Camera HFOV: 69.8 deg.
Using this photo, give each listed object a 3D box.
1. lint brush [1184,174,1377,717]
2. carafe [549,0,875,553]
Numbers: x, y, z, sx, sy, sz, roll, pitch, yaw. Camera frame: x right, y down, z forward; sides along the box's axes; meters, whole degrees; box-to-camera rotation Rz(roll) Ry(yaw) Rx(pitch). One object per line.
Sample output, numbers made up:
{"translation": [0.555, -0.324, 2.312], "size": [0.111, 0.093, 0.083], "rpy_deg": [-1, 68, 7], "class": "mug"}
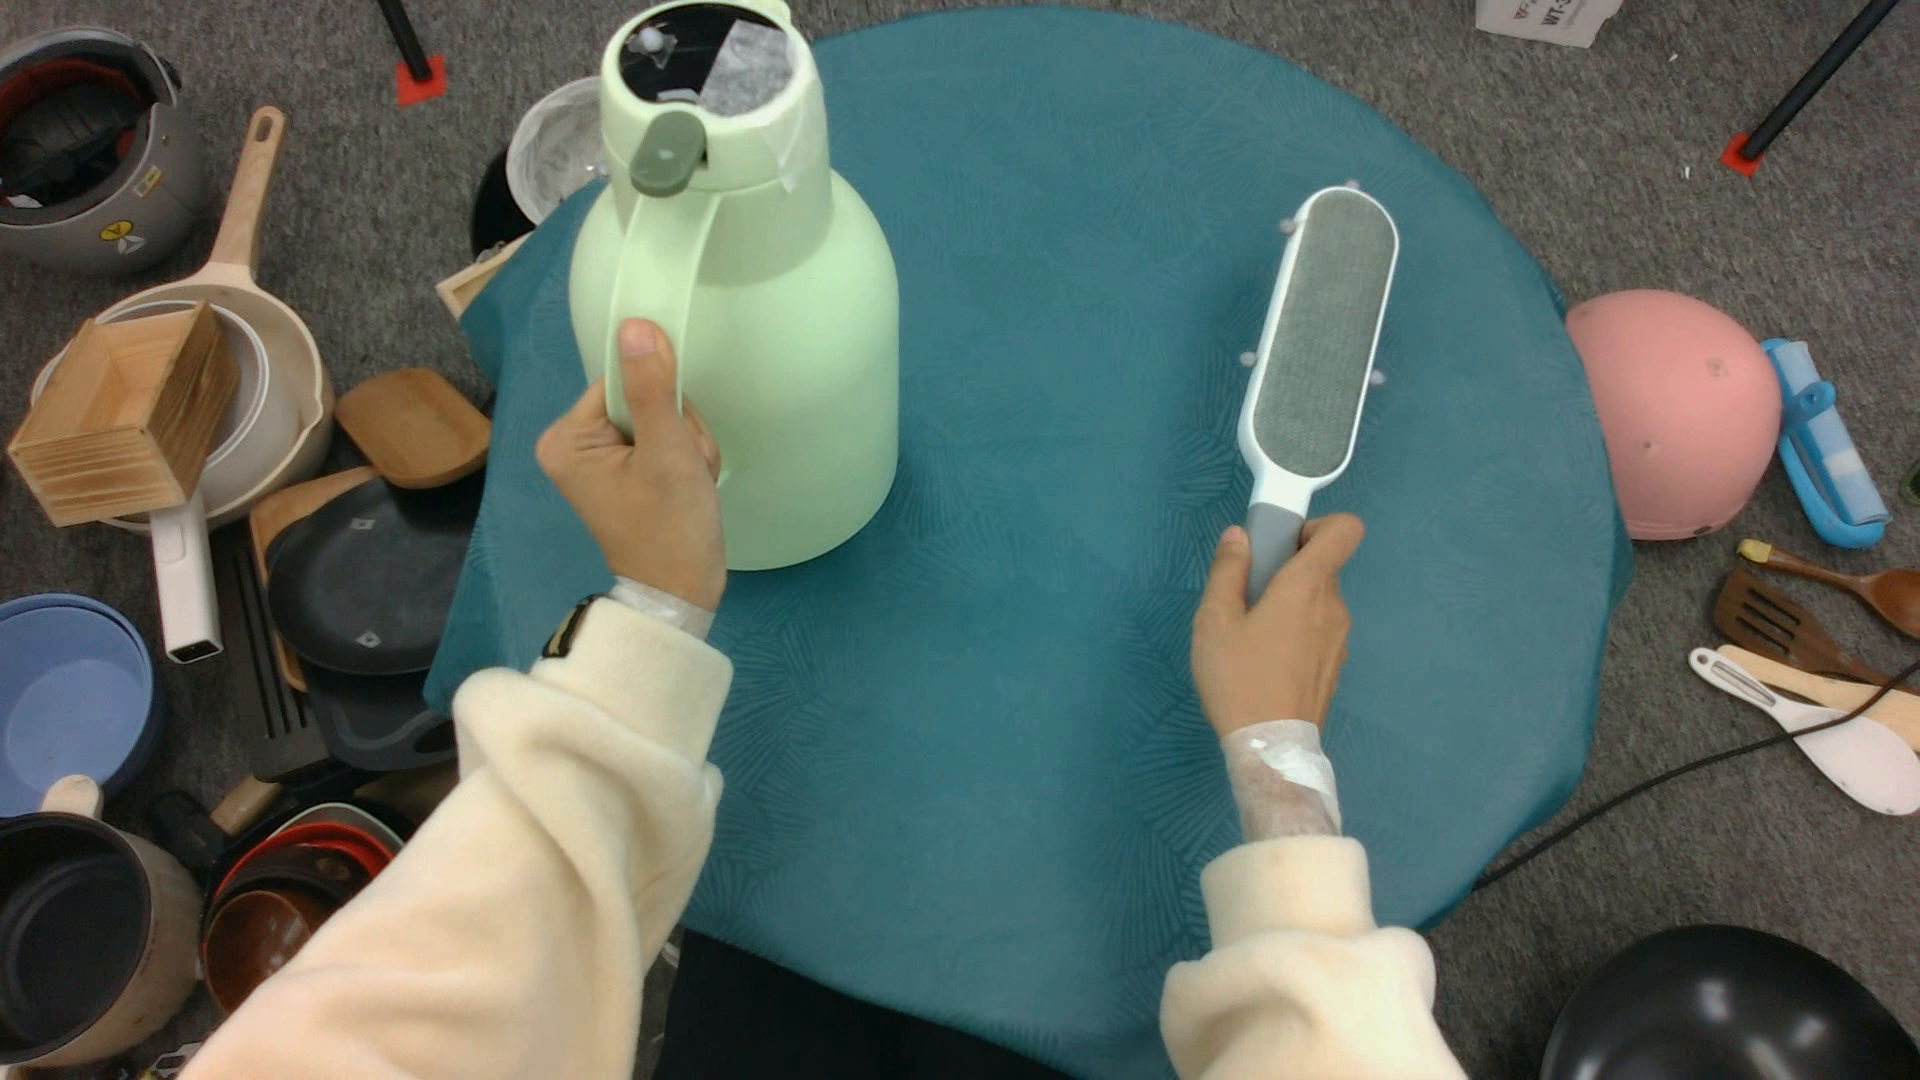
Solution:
{"translation": [0.153, -0.057, 0.669], "size": [0.060, 0.021, 0.310], "rpy_deg": [22, 65, -8], "class": "lint brush"}
{"translation": [-0.111, -0.099, 0.598], "size": [0.144, 0.255, 0.187], "rpy_deg": [13, 61, 1], "class": "carafe"}
